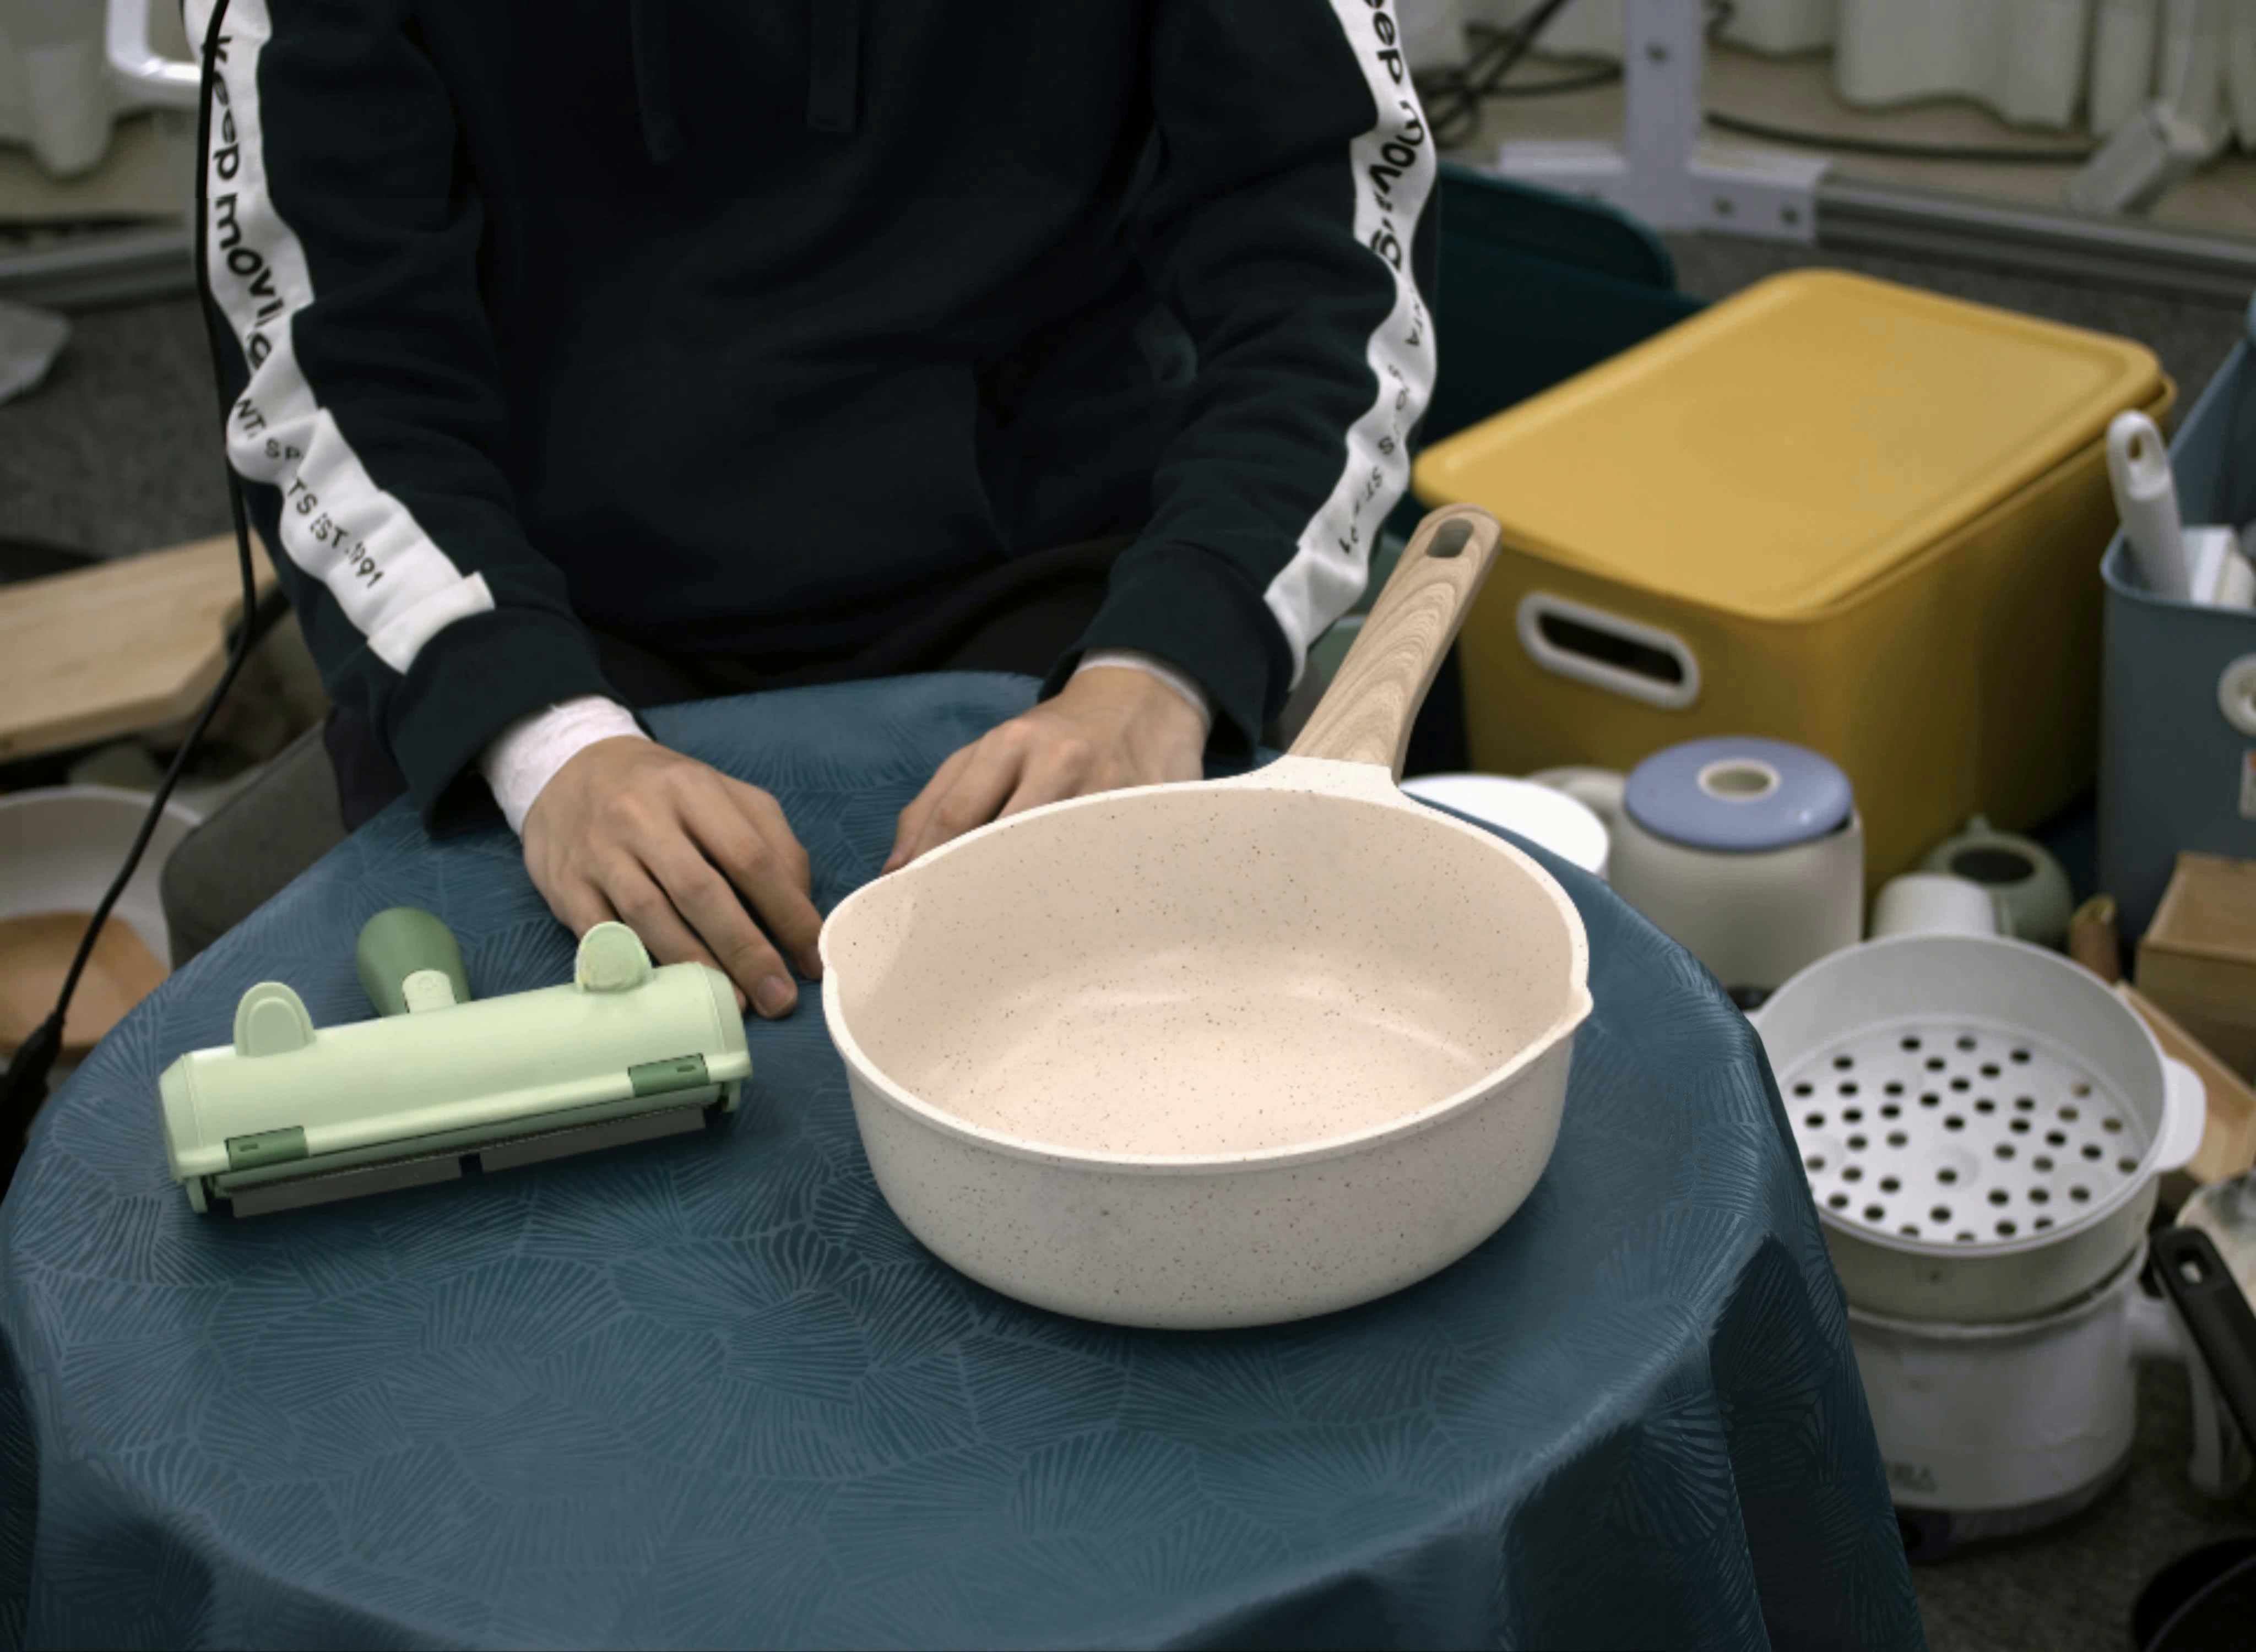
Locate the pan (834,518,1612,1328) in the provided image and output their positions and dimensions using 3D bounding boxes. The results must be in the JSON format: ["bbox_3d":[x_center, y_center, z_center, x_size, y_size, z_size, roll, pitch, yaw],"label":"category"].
[{"bbox_3d":[0.061,0.030,1.924,0.261,0.101,0.442,5,28,18],"label":"pan"}]

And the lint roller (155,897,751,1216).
[{"bbox_3d":[-0.242,0.054,1.933,0.198,0.081,0.185,-10,34,-13],"label":"lint roller"}]
